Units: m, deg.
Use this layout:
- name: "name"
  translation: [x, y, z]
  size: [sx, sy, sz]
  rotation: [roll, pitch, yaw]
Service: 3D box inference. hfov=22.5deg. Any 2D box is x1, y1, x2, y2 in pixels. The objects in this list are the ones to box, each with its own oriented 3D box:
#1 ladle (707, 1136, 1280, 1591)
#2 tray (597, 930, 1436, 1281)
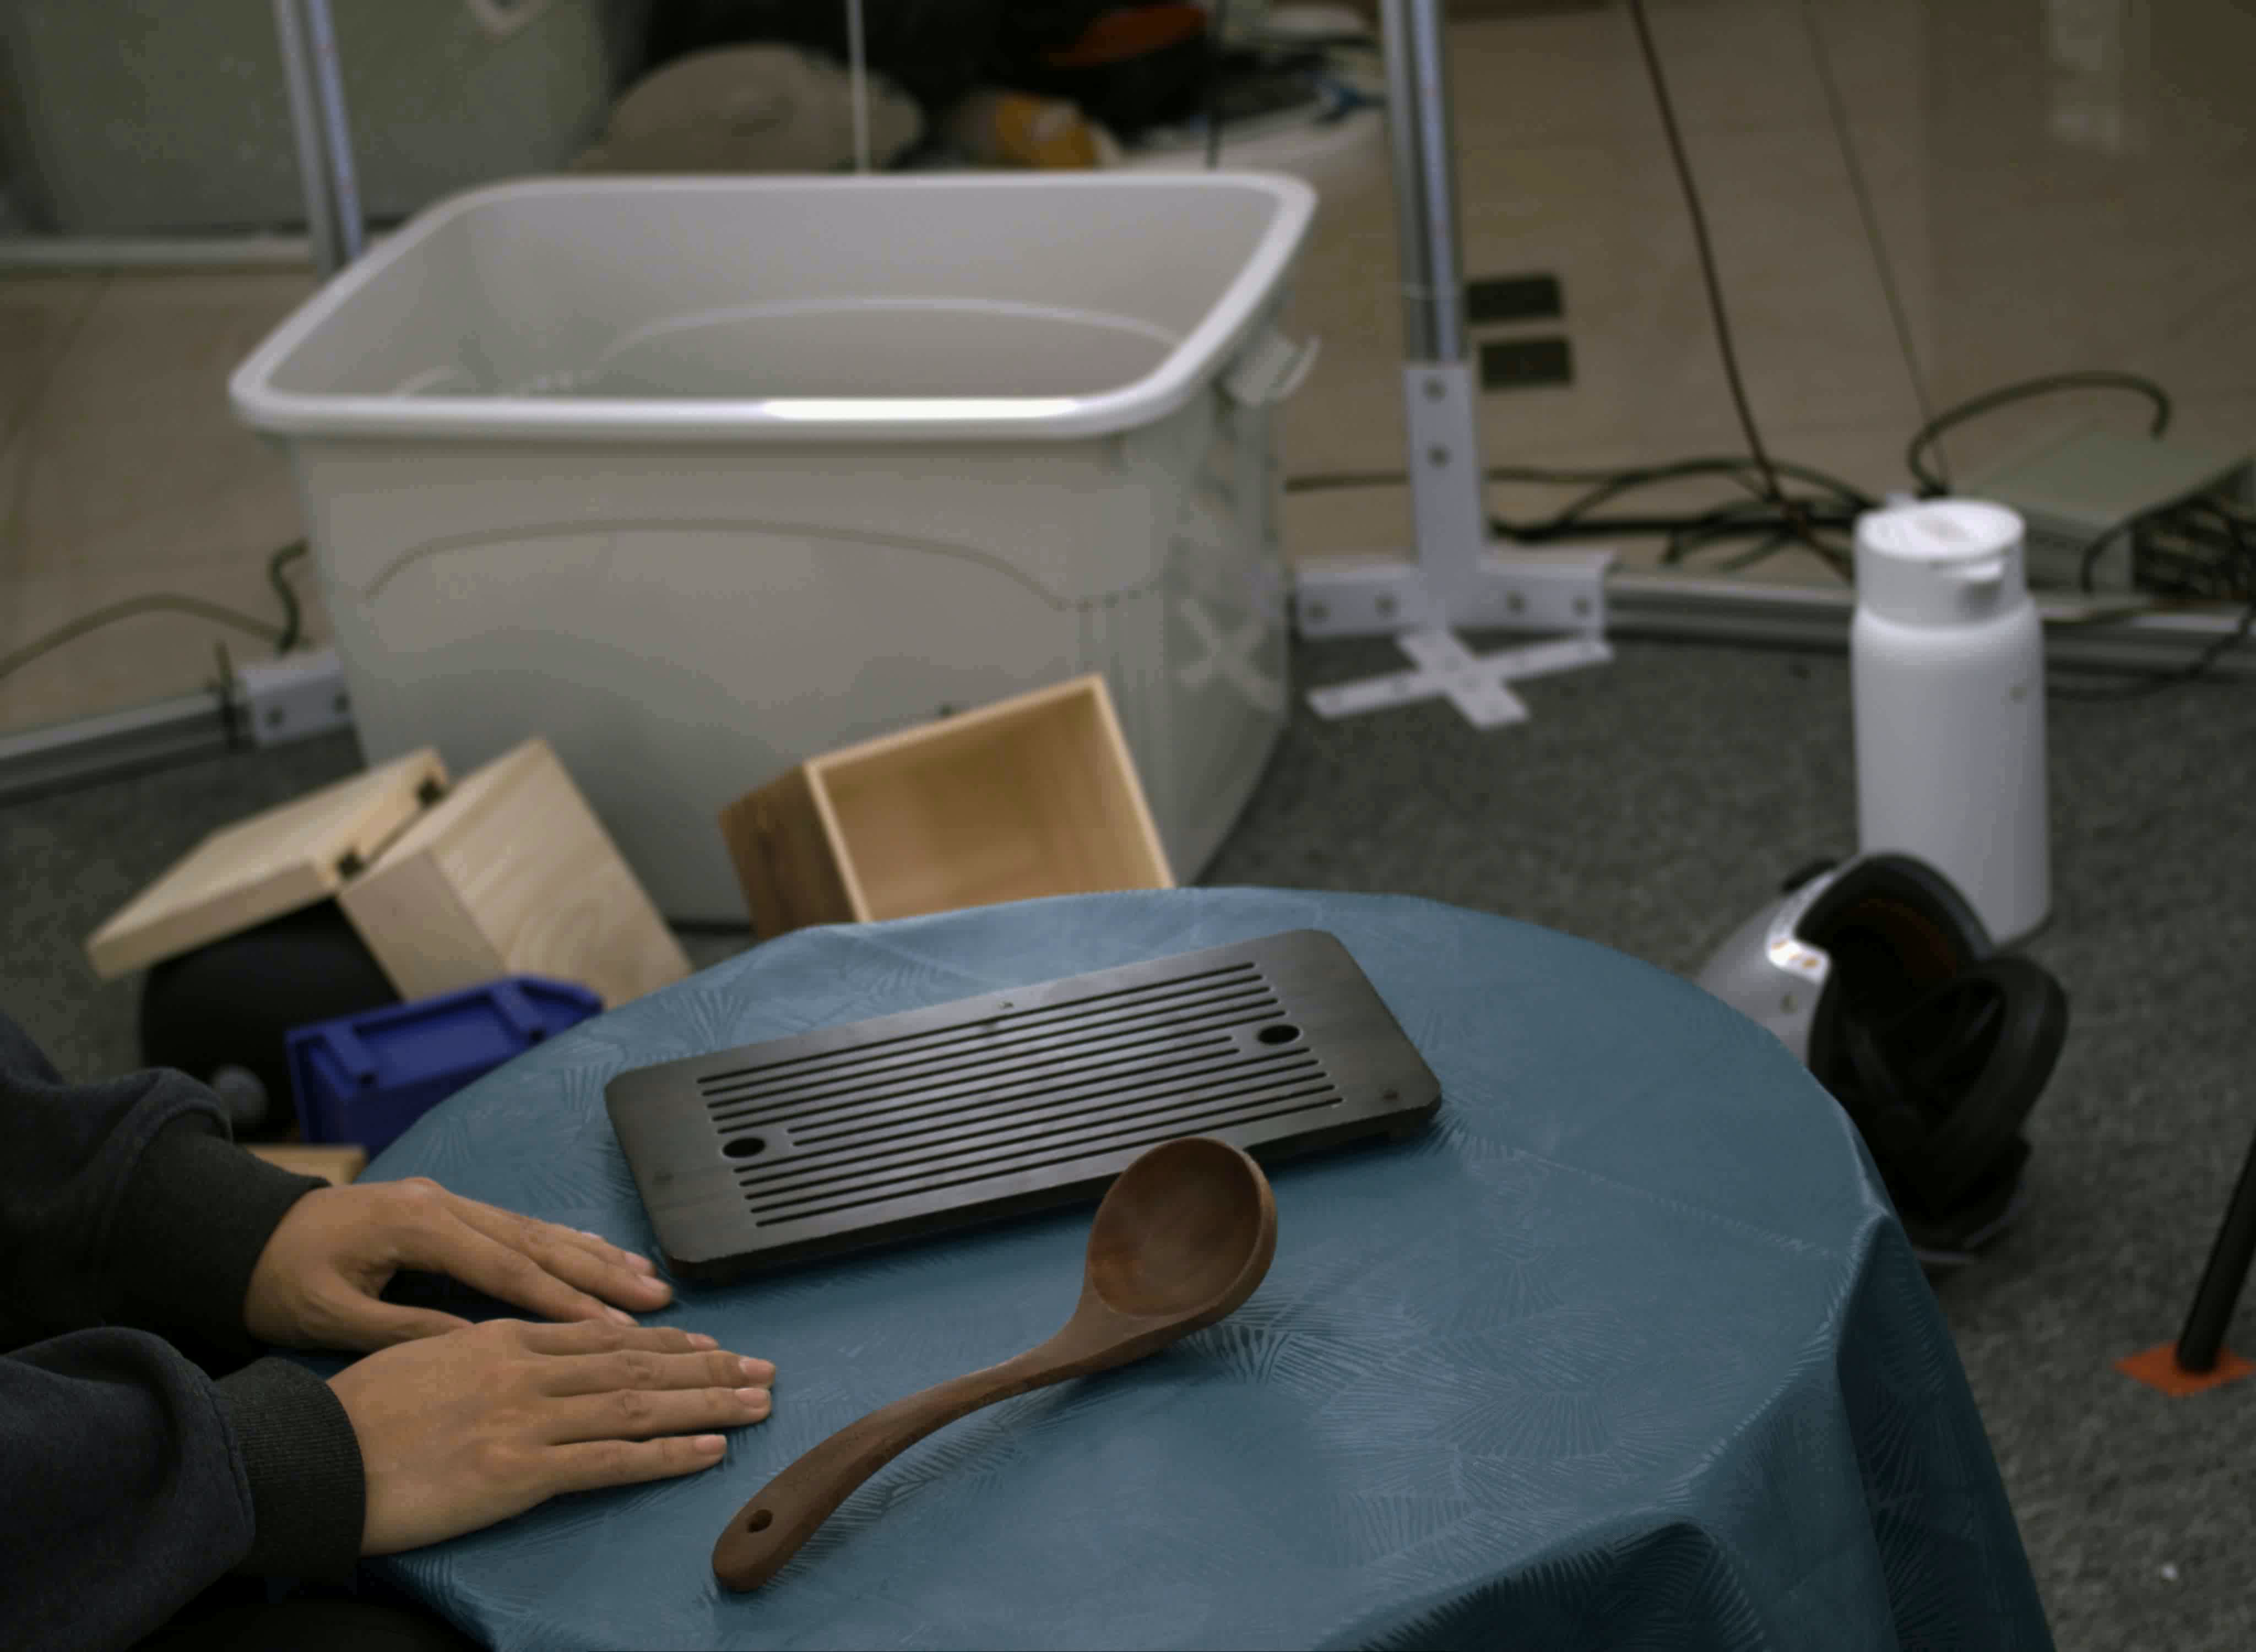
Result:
- name: "ladle"
  translation: [-0.050, 0.184, 1.984]
  size: [0.258, 0.066, 0.076]
  rotation: [-27, 32, -36]
- name: "tray"
  translation: [-0.045, 0.108, 2.204]
  size: [0.305, 0.019, 0.168]
  rotation: [-11, 25, -10]
